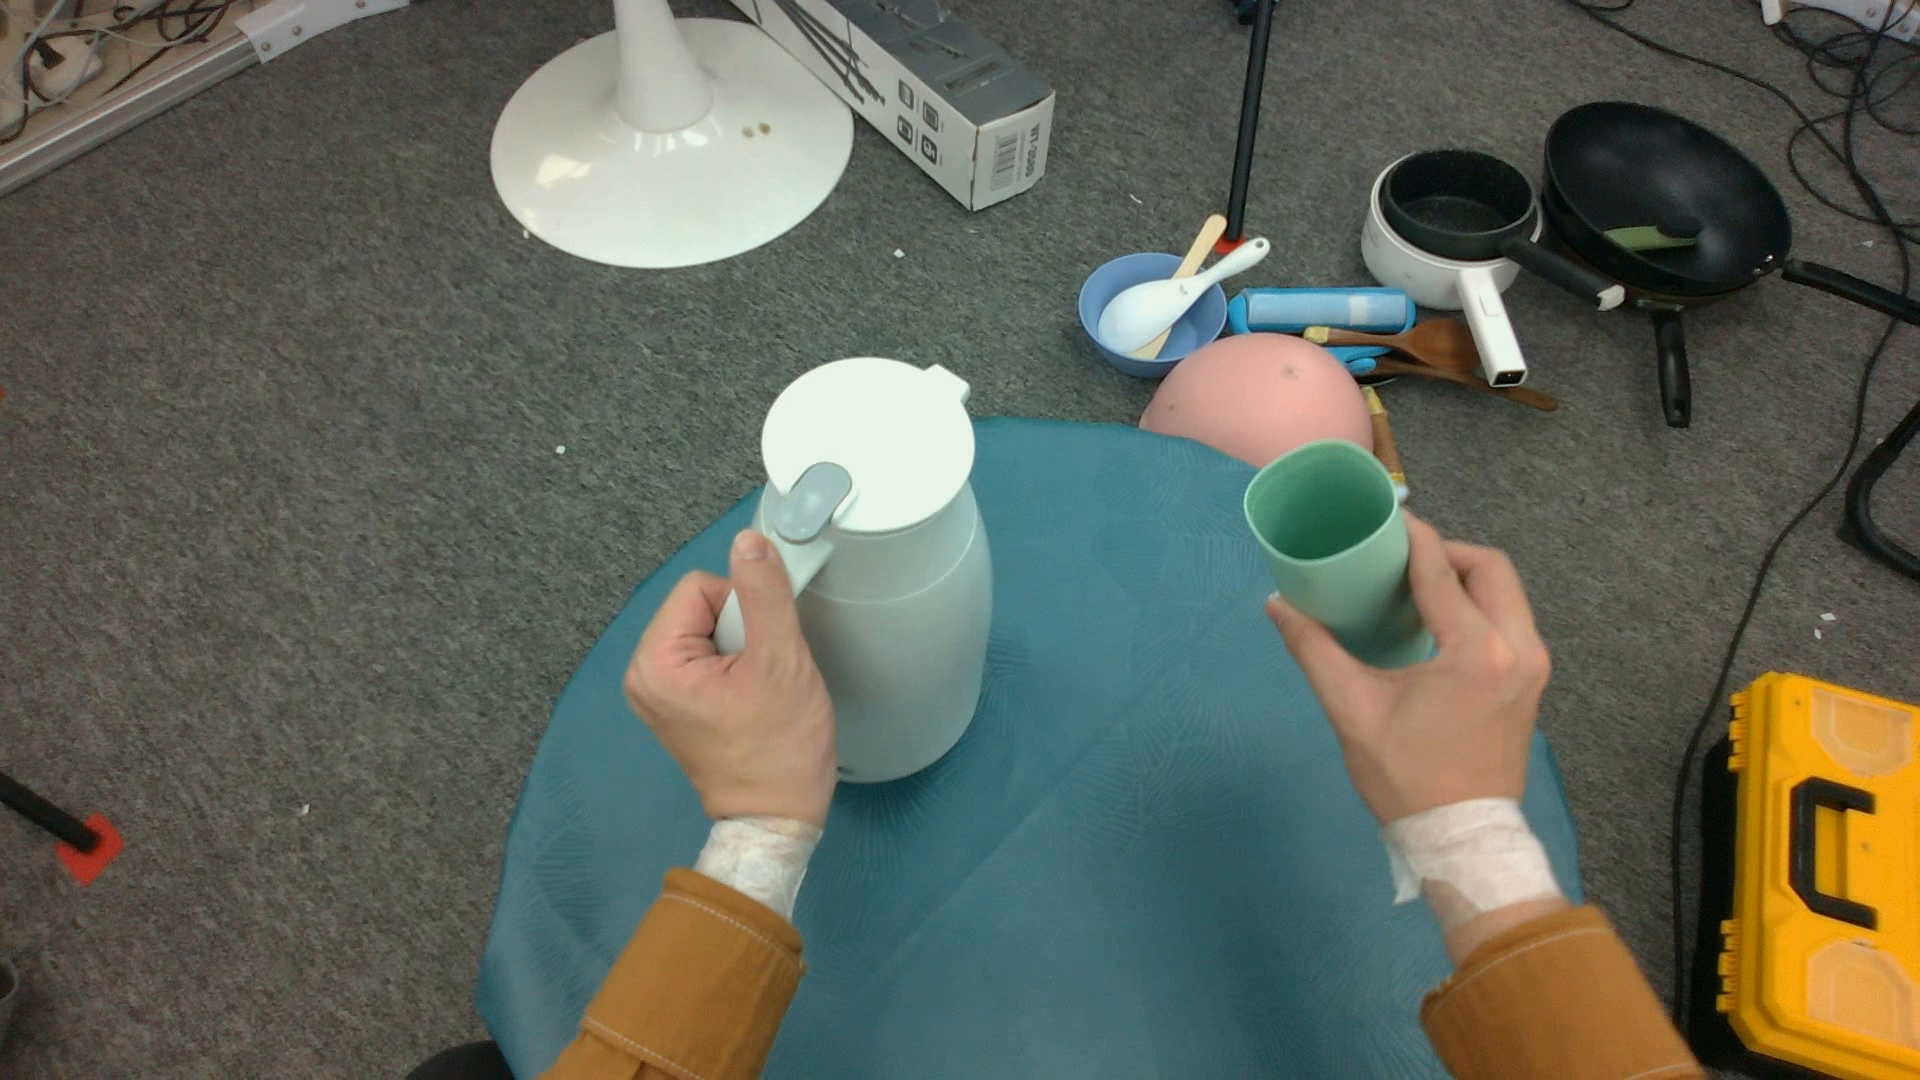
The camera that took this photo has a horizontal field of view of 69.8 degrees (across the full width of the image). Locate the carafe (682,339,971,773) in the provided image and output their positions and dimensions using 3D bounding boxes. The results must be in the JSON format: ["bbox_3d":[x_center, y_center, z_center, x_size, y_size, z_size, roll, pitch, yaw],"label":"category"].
[{"bbox_3d":[-0.068,0.023,0.680,0.132,0.247,0.168,34,63,15],"label":"carafe"}]

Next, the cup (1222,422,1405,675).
[{"bbox_3d":[0.173,0.008,0.659,0.066,0.132,0.067,-13,54,18],"label":"cup"}]
